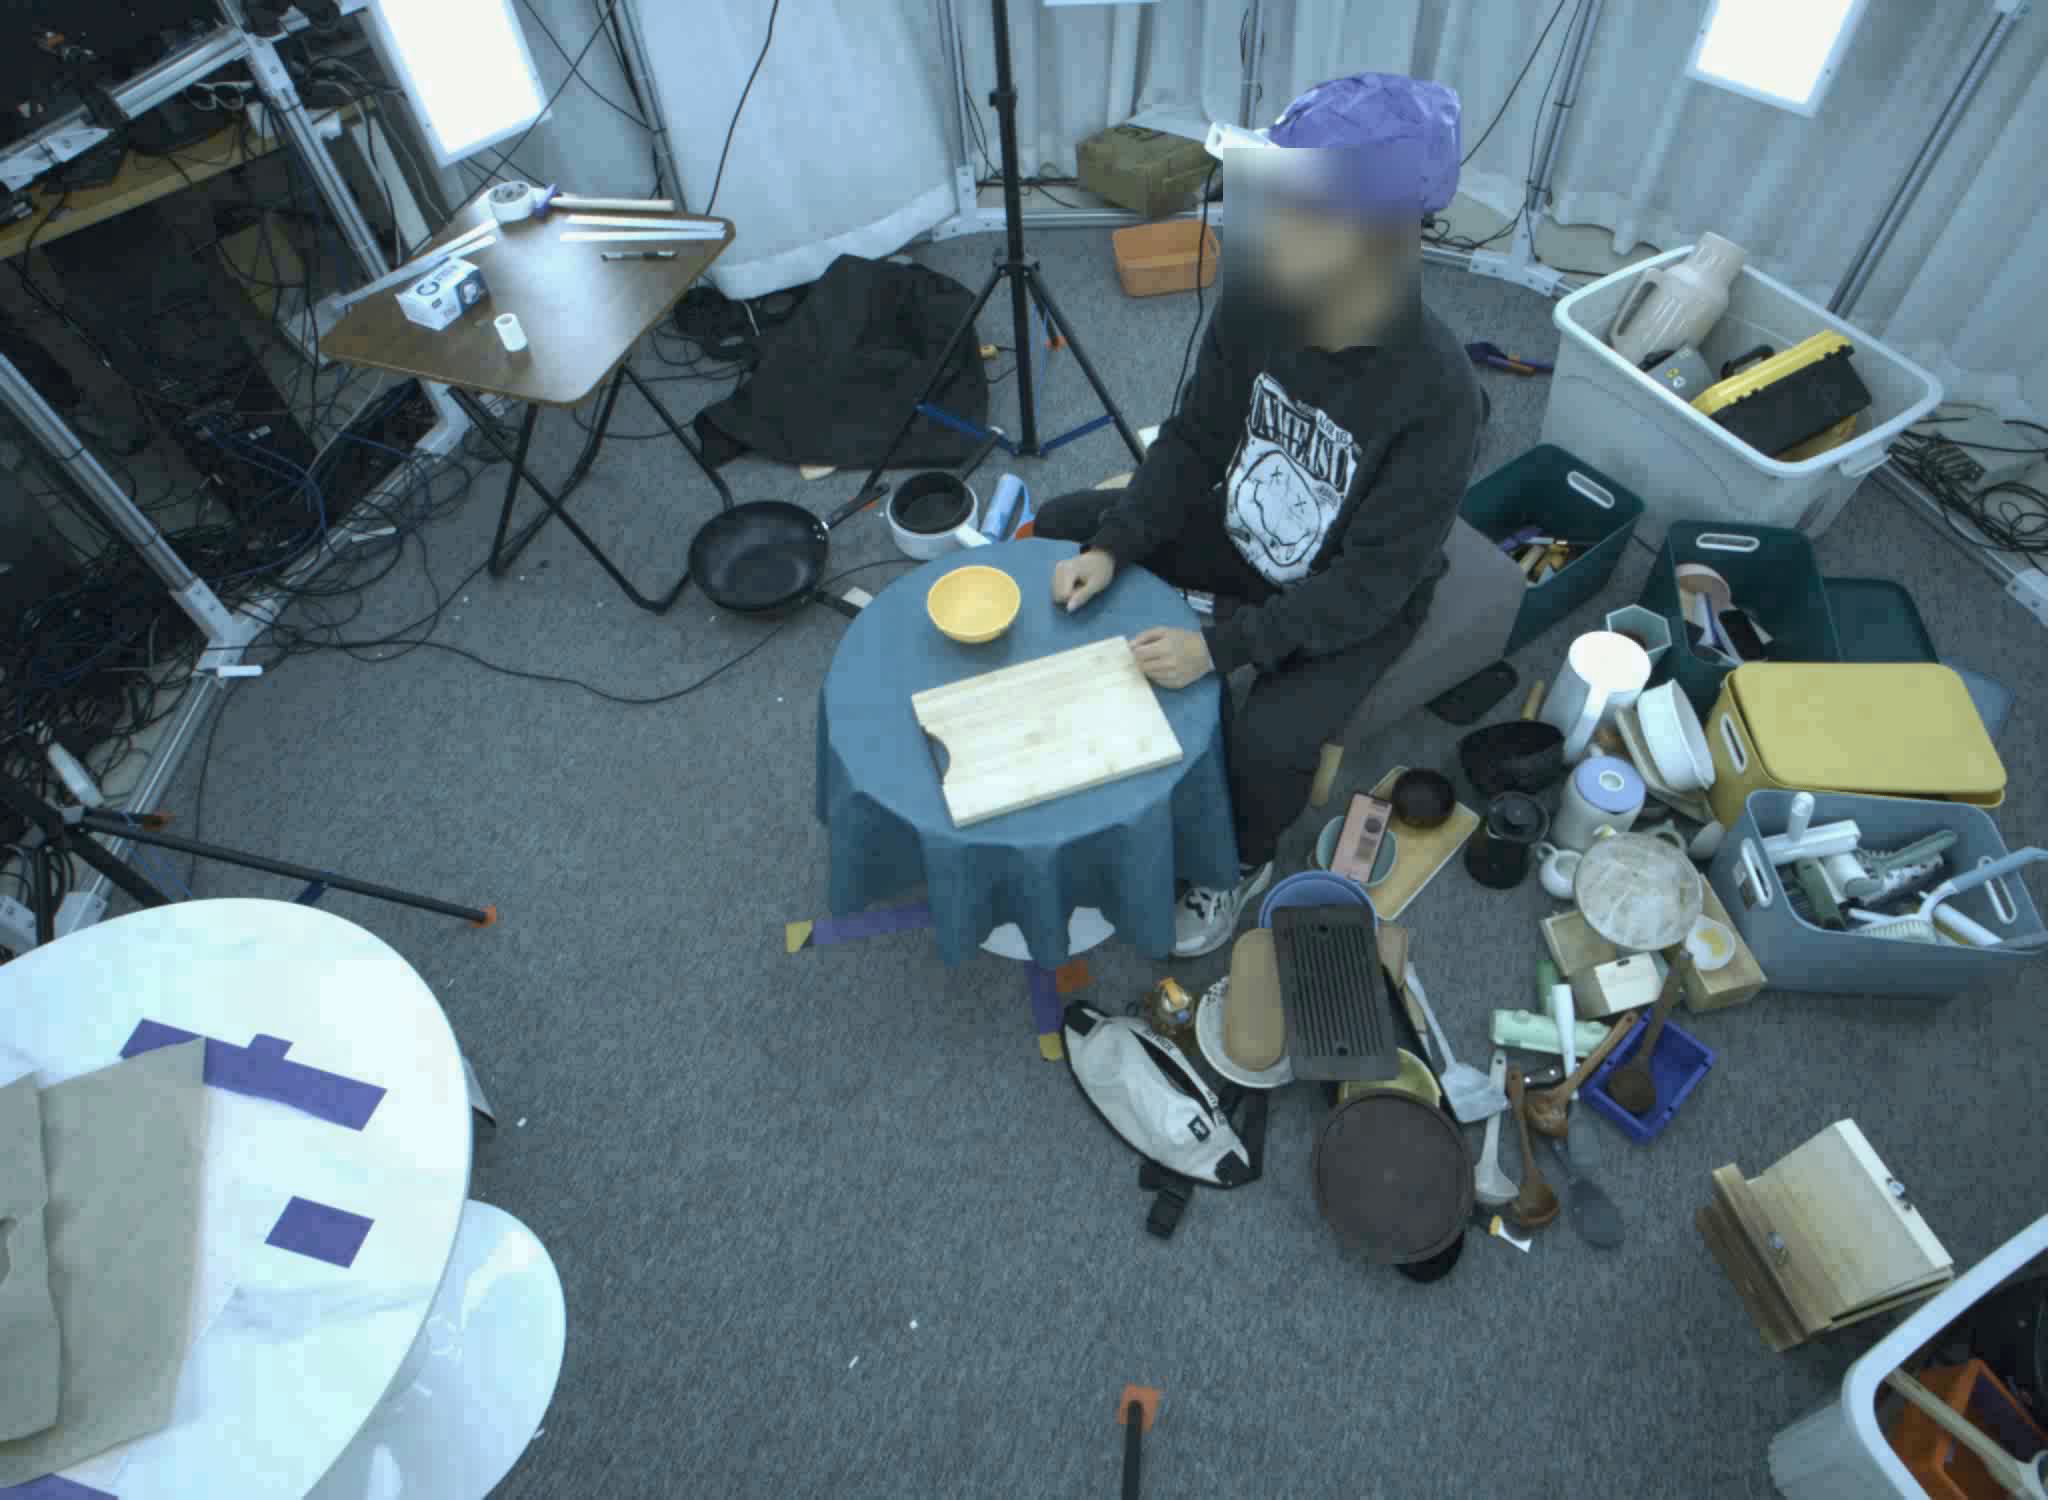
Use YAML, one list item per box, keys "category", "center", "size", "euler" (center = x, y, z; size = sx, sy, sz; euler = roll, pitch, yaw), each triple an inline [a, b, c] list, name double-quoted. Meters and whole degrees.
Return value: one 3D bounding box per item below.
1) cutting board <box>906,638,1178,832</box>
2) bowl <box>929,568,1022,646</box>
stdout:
- category: "cutting board"
  center: [0.025, -0.028, 1.807]
  size: [0.351, 0.024, 0.246]
  euler: [-17, 56, -10]
- category: "bowl"
  center: [-0.075, -0.211, 1.914]
  size: [0.145, 0.060, 0.144]
  euler: [1, 57, 0]
